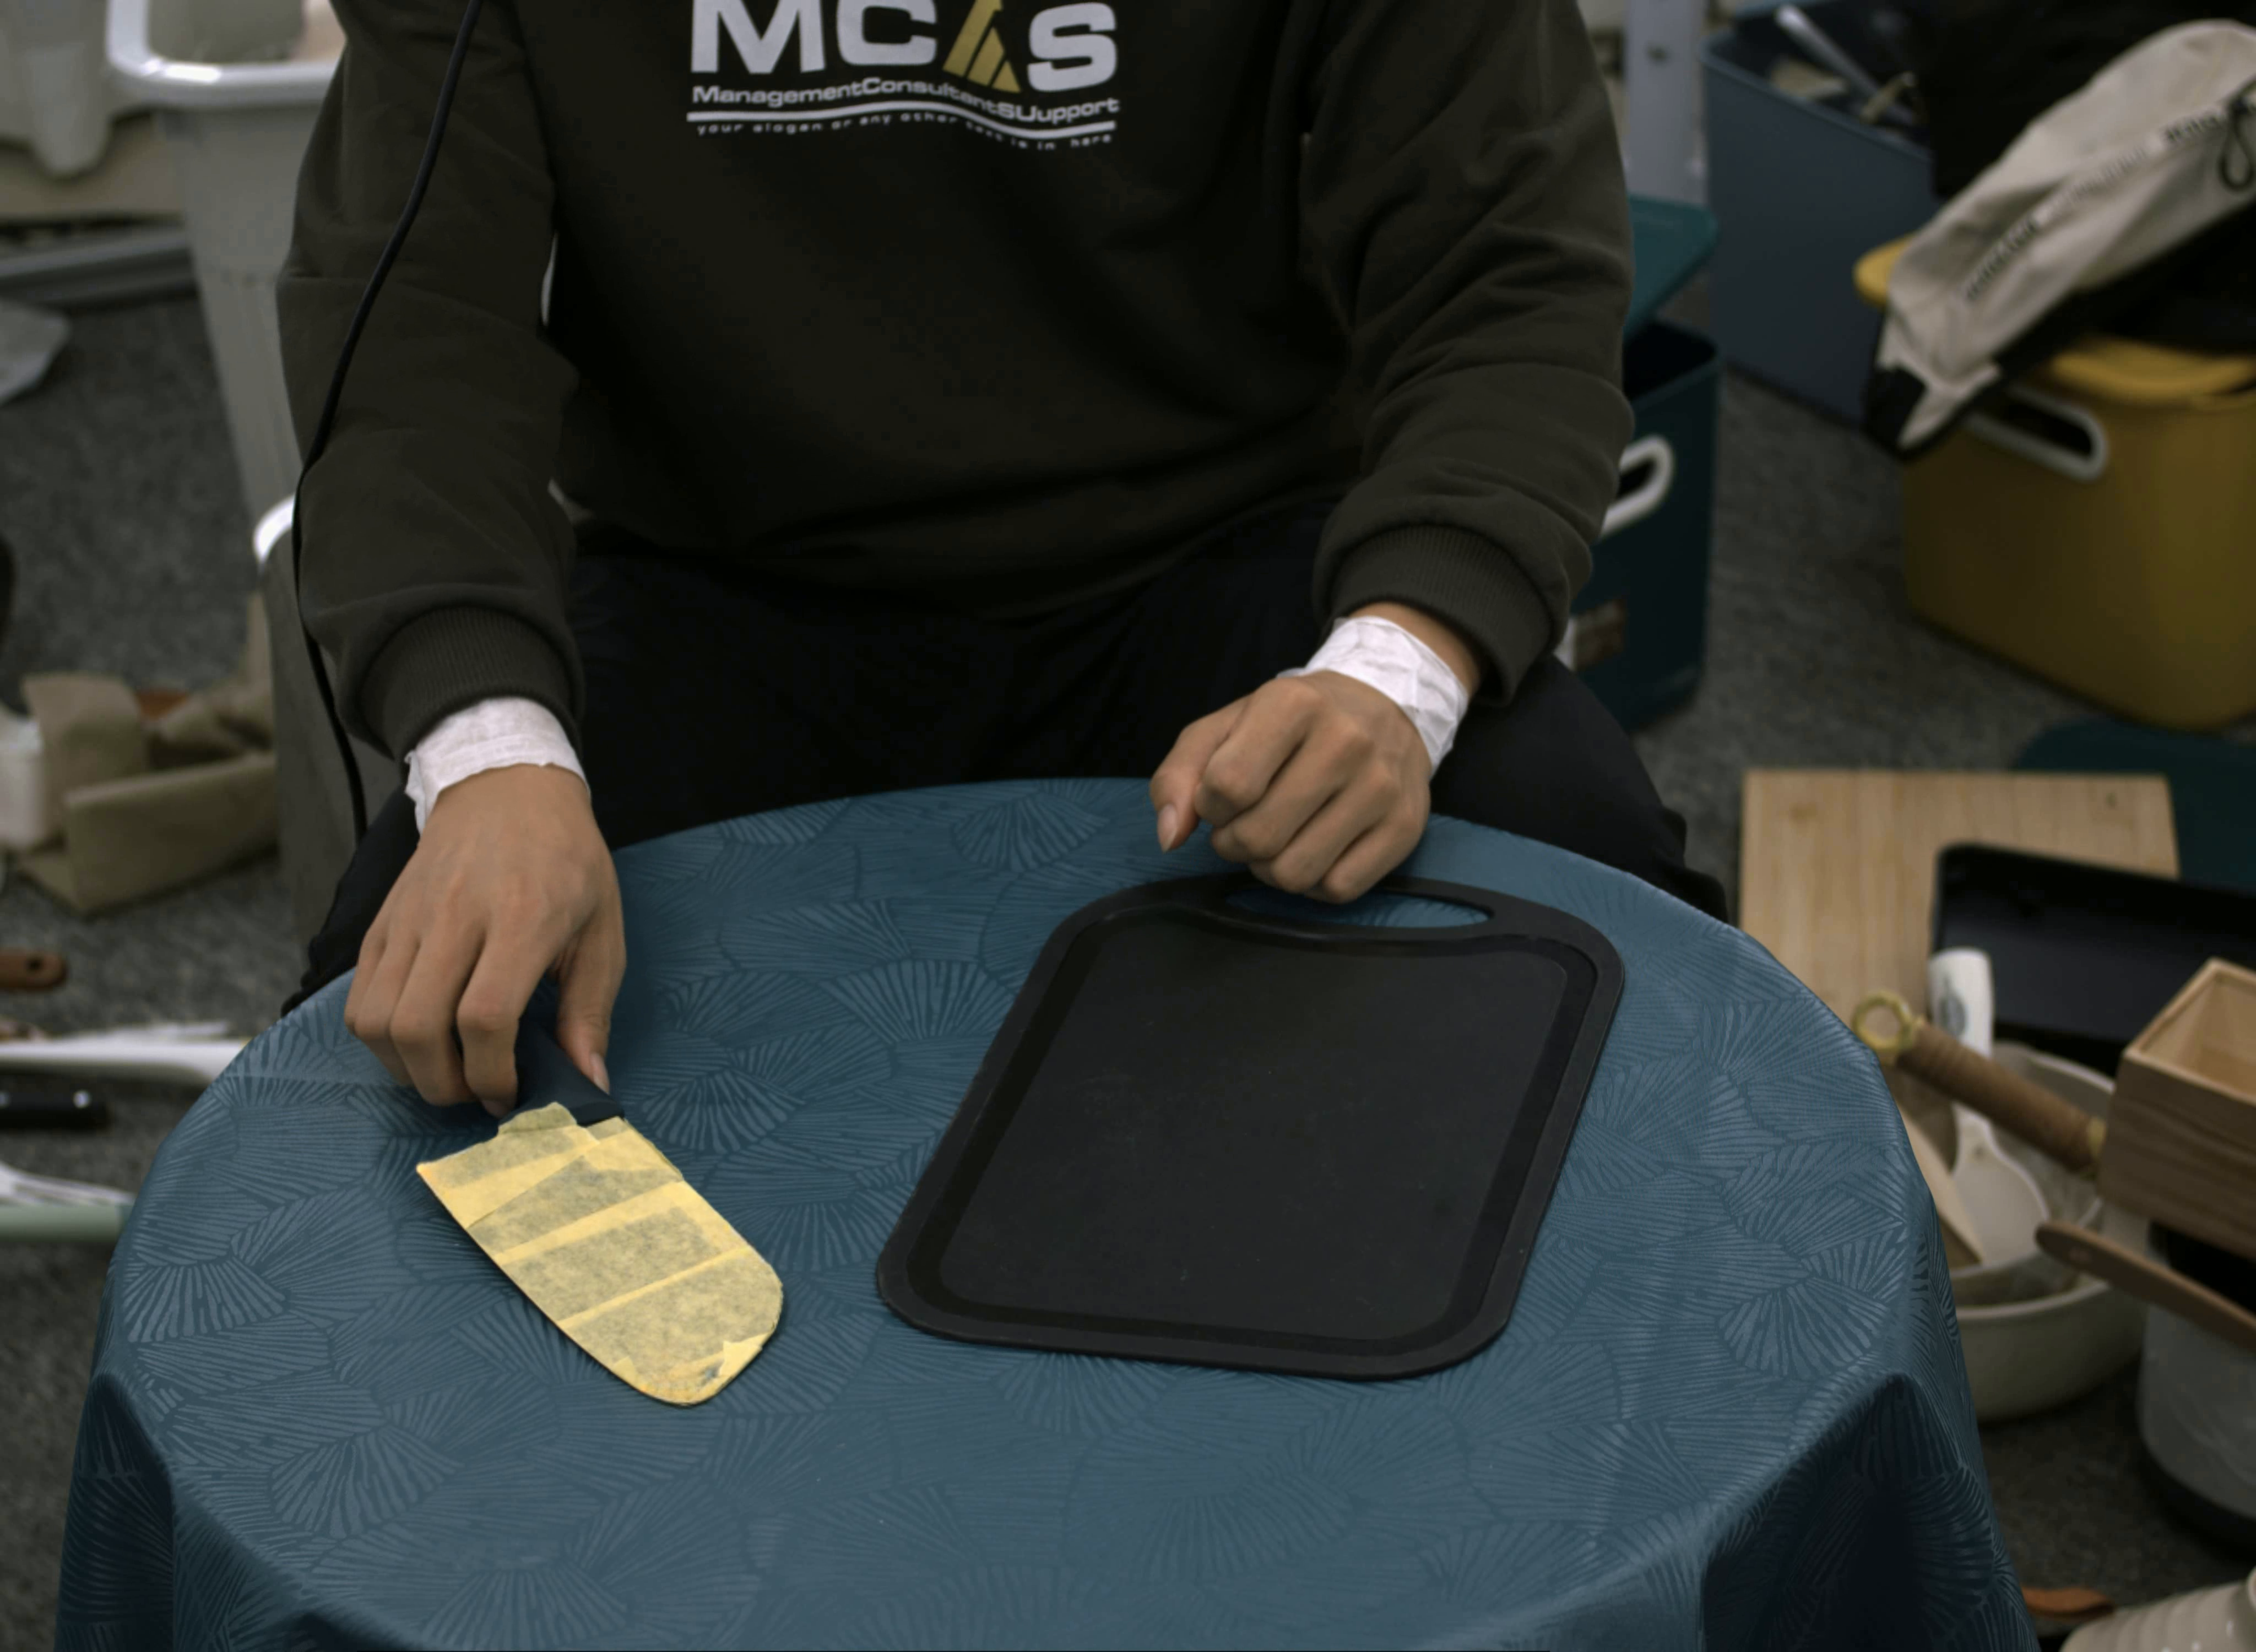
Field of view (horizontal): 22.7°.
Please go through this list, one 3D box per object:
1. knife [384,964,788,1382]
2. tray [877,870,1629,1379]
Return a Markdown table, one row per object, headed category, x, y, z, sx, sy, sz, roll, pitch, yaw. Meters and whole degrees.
| category | x | y | z | sx | sy | sz | roll | pitch | yaw |
| --- | --- | --- | --- | --- | --- | --- | --- | --- | --- |
| knife | -0.195 | 0.116 | 1.875 | 0.081 | 0.027 | 0.291 | -15 | 31 | -24 |
| tray | 0.049 | 0.091 | 1.907 | 0.209 | 0.009 | 0.331 | 5 | 28 | 14 |
